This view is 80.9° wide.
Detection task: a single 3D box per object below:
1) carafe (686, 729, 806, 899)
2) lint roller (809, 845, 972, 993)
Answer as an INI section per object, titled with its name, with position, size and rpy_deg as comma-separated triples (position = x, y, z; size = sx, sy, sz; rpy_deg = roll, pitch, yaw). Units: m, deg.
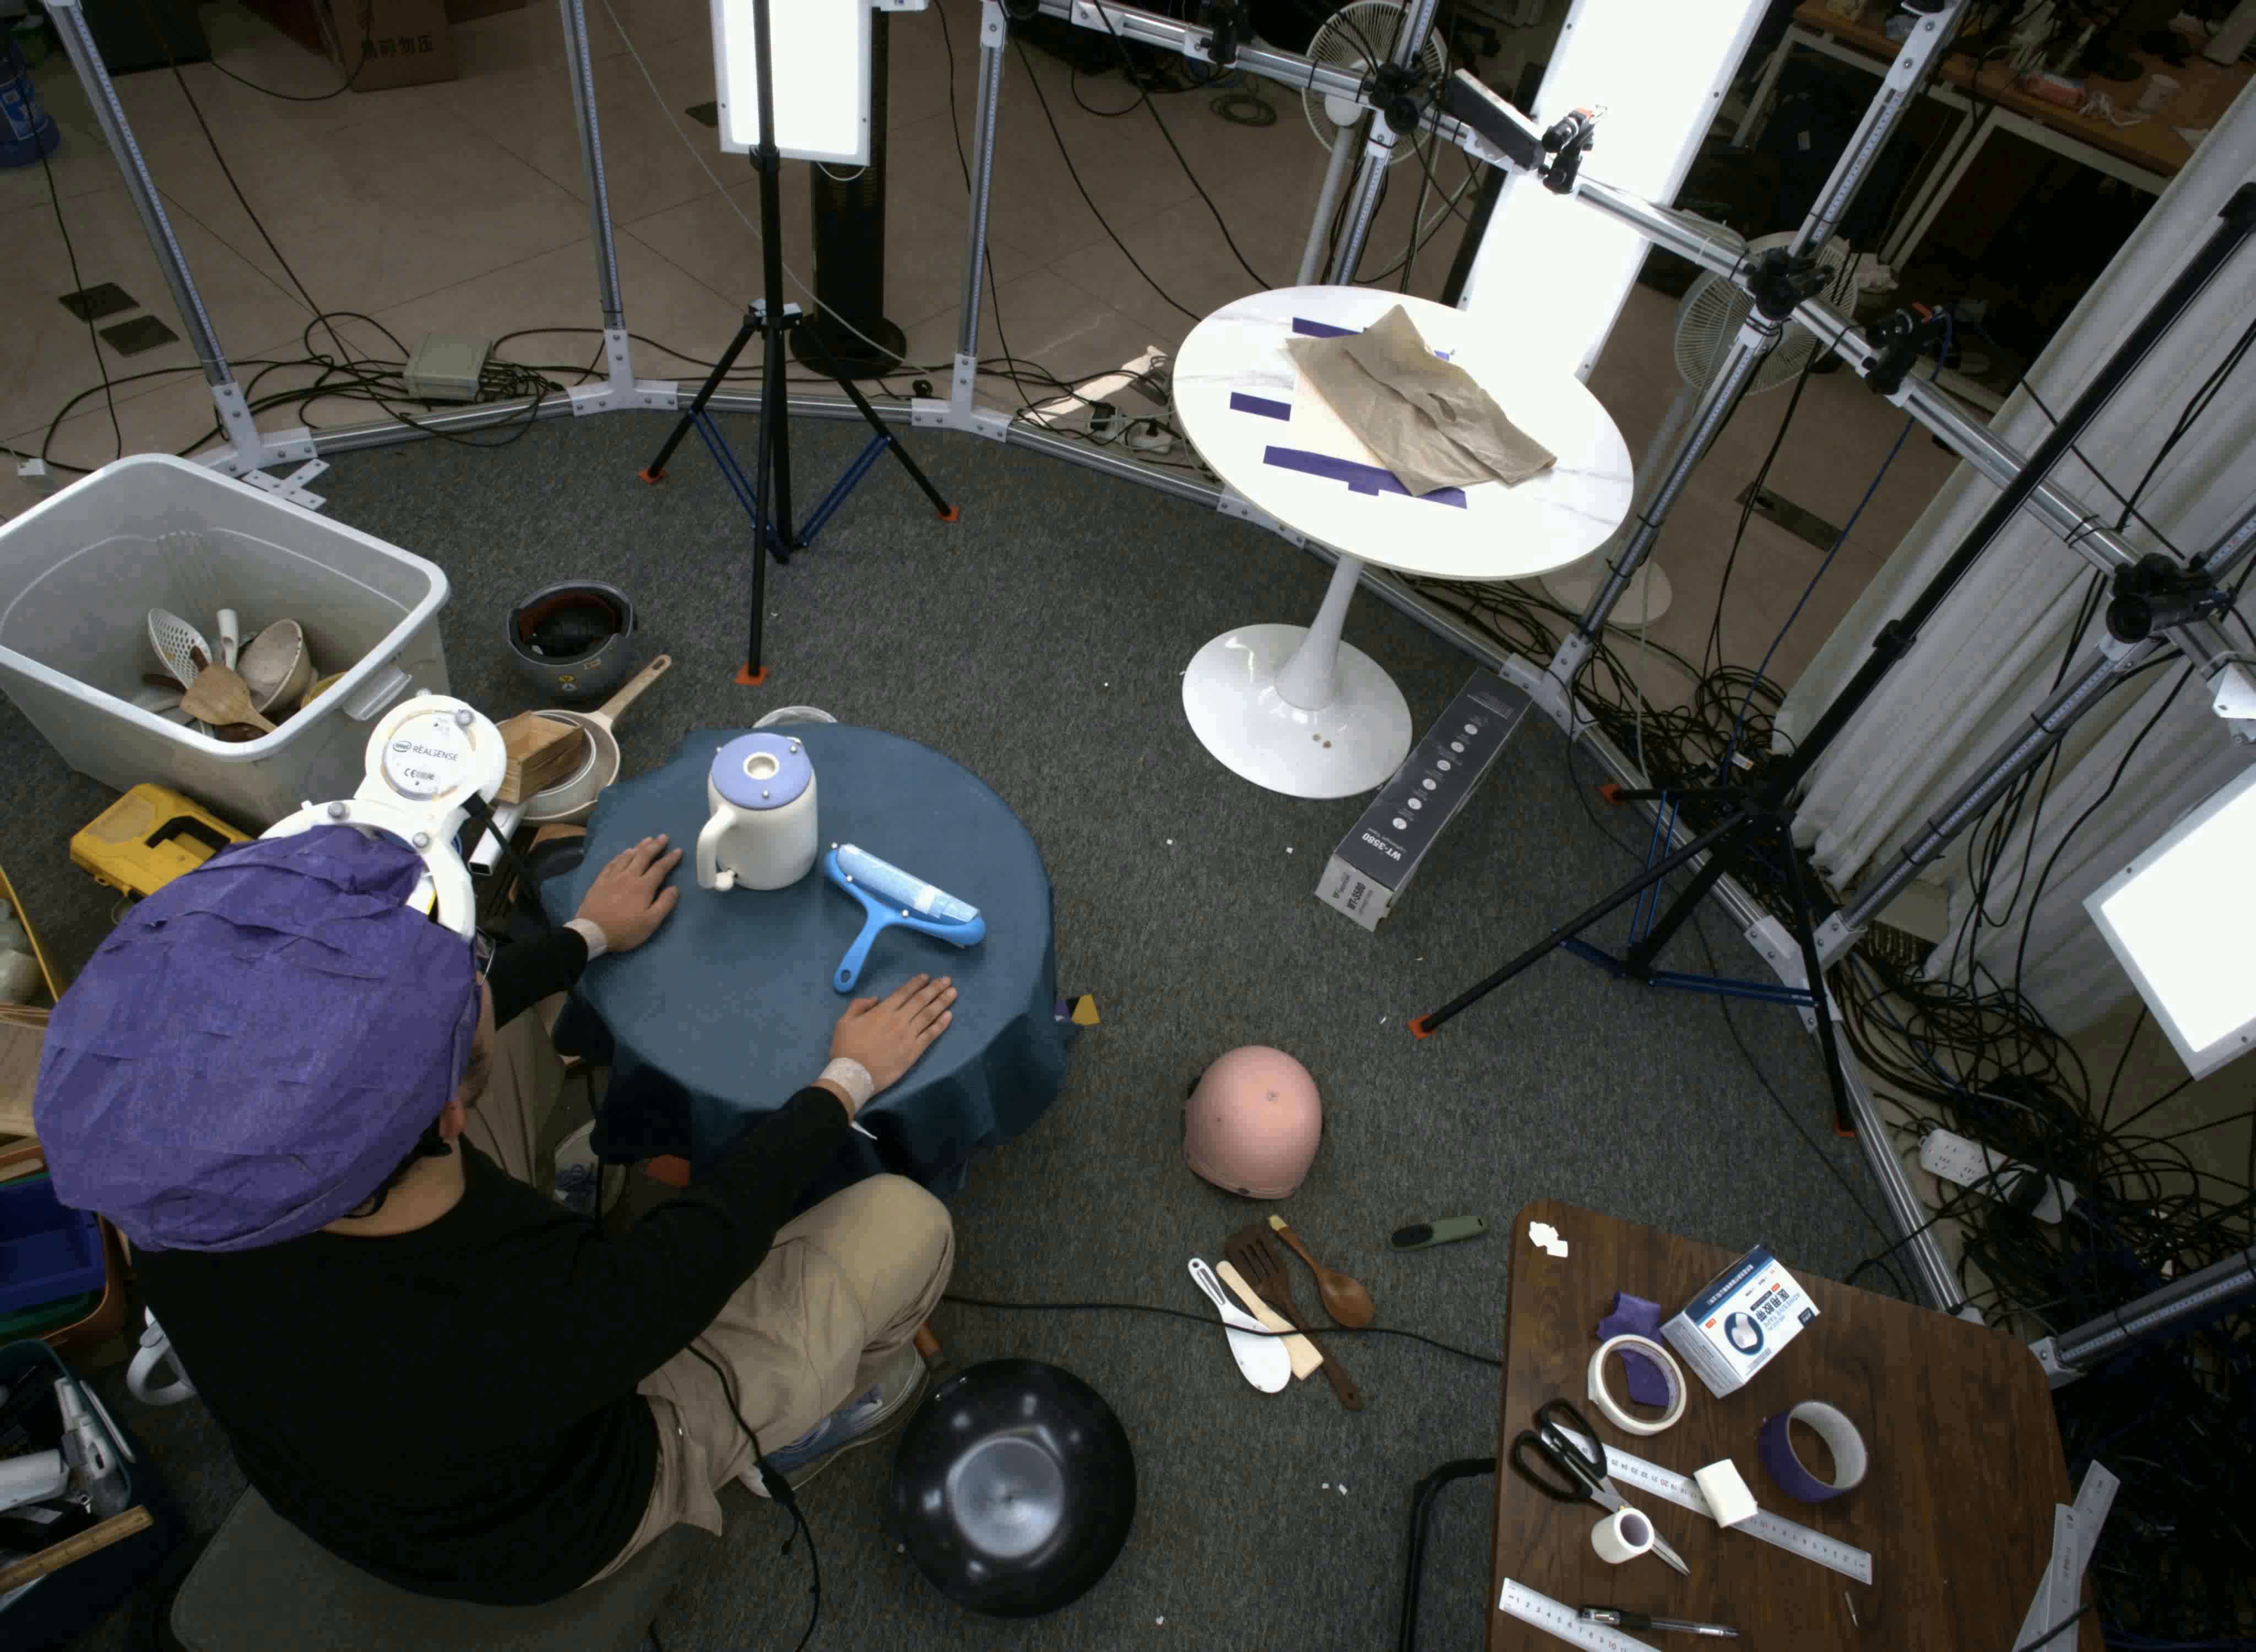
[carafe]
position = -0.482, -0.002, 1.594
size = 0.130, 0.186, 0.190
rpy_deg = 26, 54, 9
[lint roller]
position = -0.322, 0.125, 1.614
size = 0.227, 0.069, 0.179
rpy_deg = 26, 46, 2
